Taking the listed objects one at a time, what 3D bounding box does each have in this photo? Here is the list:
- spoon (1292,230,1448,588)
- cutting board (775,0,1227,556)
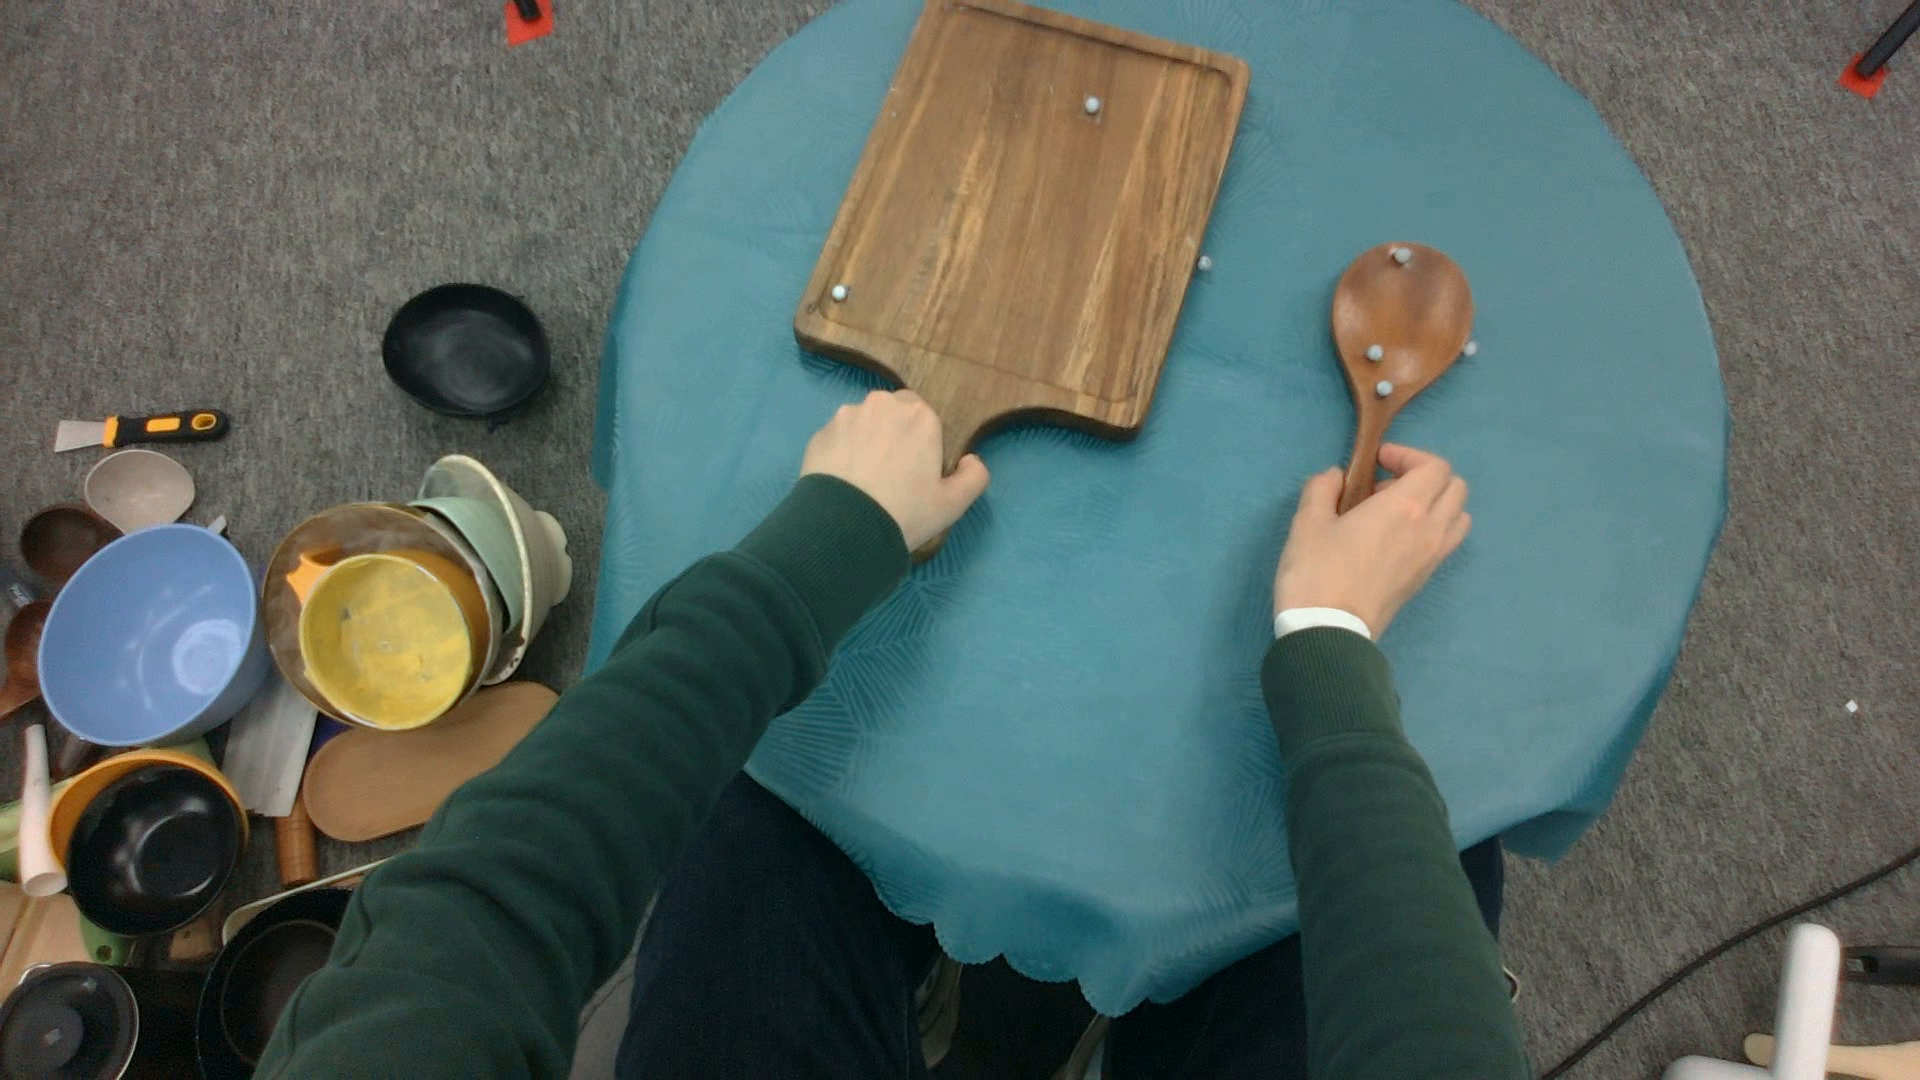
[{"bbox_3d":[0.208,-0.073,0.727,0.075,0.017,0.216,17,68,4],"label":"spoon"},{"bbox_3d":[0.014,-0.153,0.754,0.201,0.023,0.353,17,69,5],"label":"cutting board"}]
